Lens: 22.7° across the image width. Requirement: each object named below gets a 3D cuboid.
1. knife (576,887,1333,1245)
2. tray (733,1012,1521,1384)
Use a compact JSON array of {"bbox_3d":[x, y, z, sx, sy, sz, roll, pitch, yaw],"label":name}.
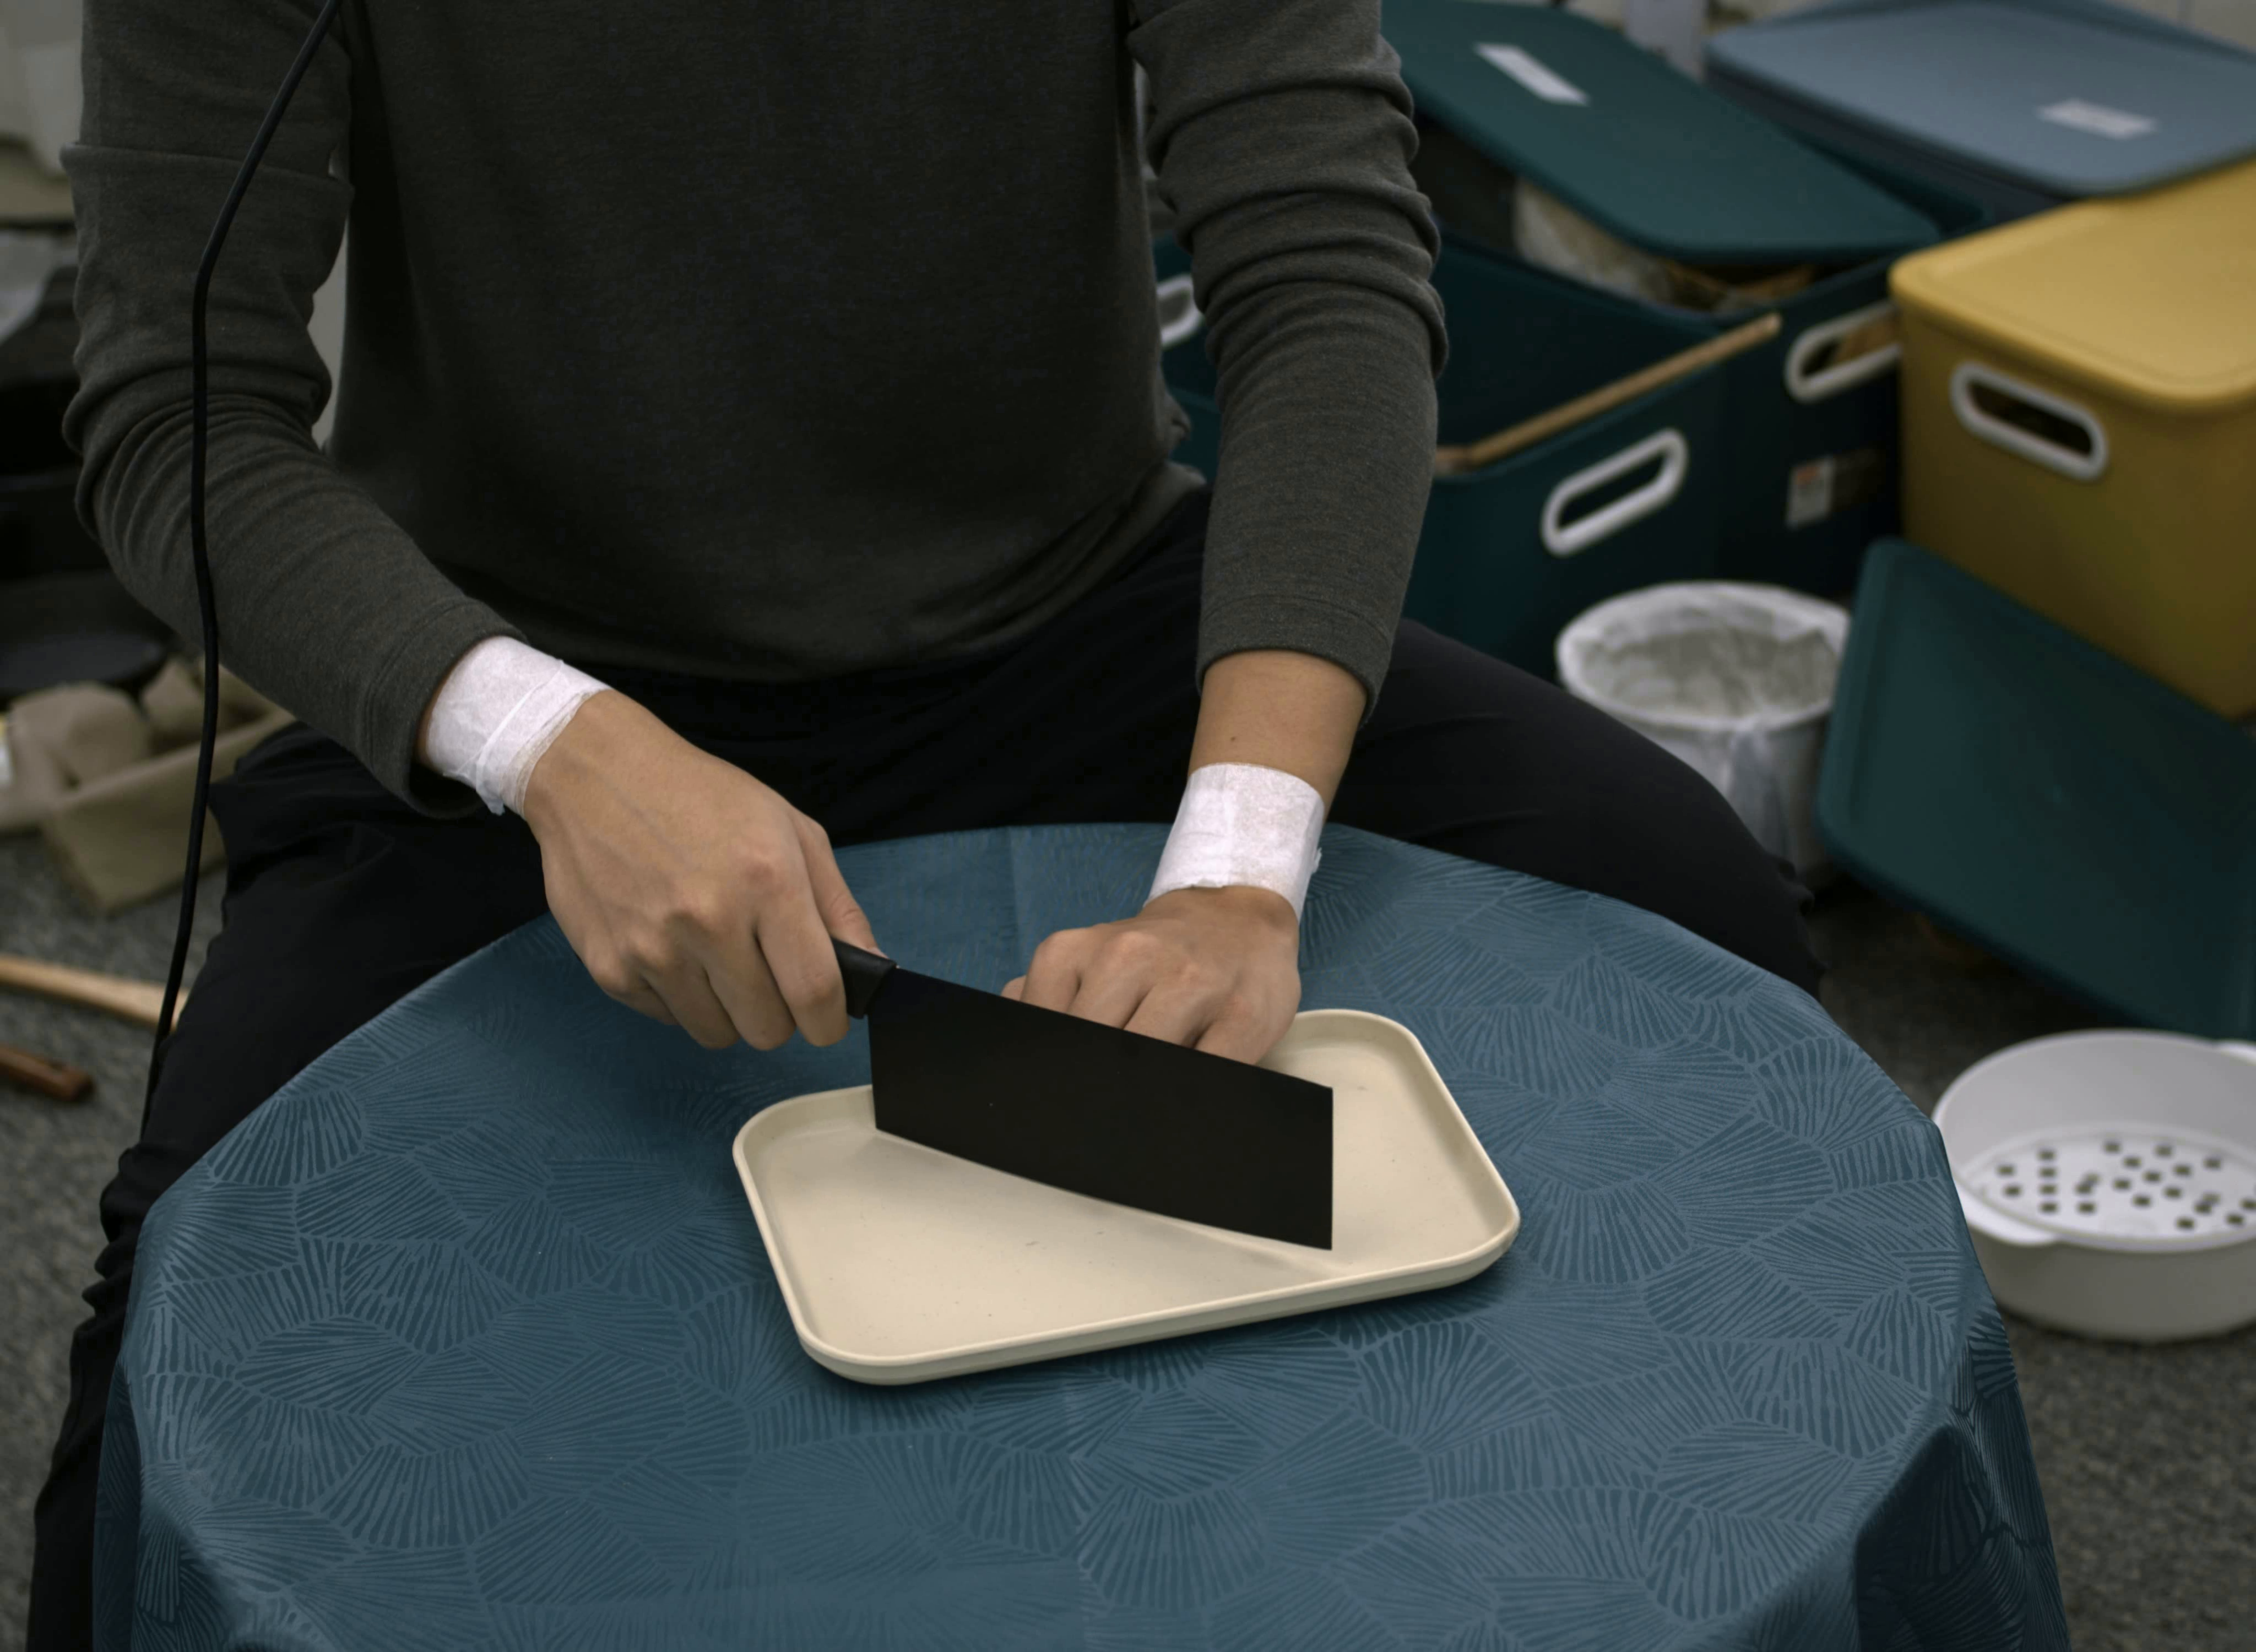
[{"bbox_3d":[-0.060,0.076,1.864,0.301,0.080,0.021,18,30,28],"label":"knife"},{"bbox_3d":[-0.002,0.122,1.842,0.239,0.017,0.173,-9,27,-12],"label":"tray"}]
